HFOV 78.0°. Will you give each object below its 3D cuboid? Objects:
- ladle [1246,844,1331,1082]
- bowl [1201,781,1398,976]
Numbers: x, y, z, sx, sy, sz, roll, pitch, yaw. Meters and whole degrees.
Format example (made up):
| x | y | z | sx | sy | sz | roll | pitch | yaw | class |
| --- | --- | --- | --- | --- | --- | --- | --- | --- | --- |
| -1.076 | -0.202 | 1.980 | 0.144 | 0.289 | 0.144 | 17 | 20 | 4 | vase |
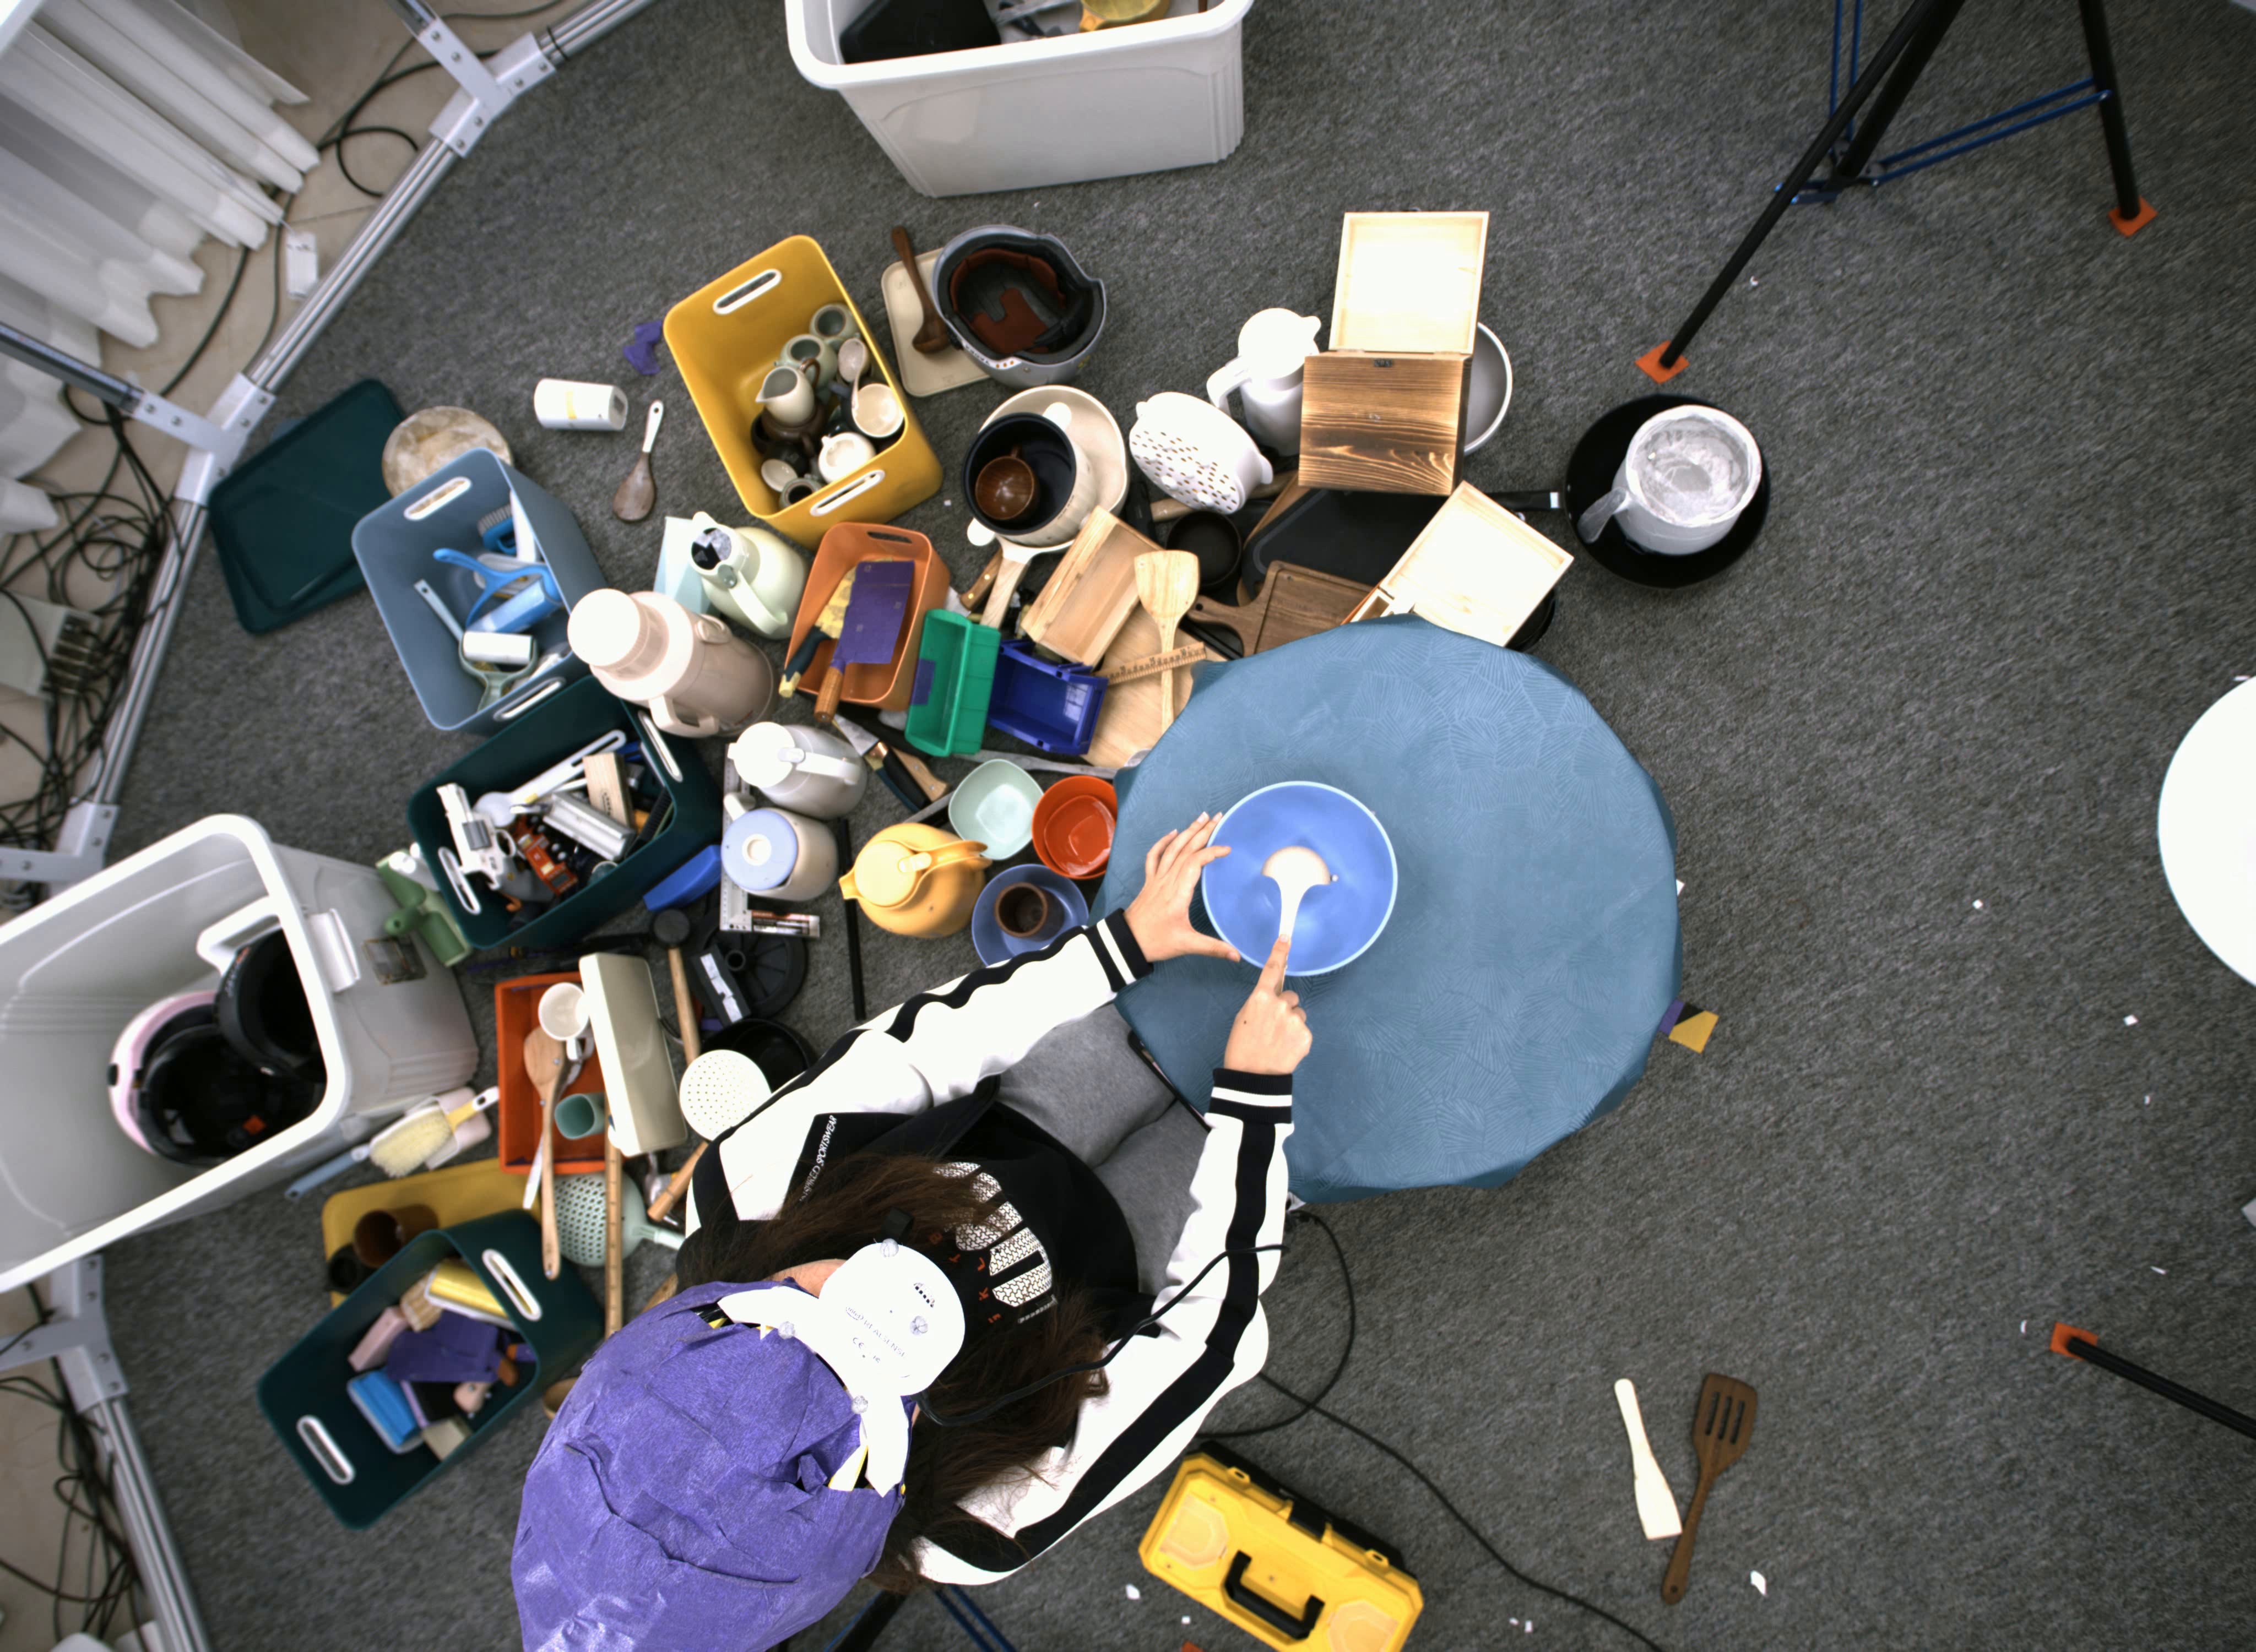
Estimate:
| x | y | z | sx | sy | sz | roll | pitch | yaw | class |
| --- | --- | --- | --- | --- | --- | --- | --- | --- | --- |
| 0.150 | 0.139 | 1.388 | 0.072 | 0.074 | 0.250 | 11 | 72 | 9 | ladle |
| 0.178 | 0.056 | 1.433 | 0.197 | 0.095 | 0.196 | -1 | 87 | 9 | bowl |
